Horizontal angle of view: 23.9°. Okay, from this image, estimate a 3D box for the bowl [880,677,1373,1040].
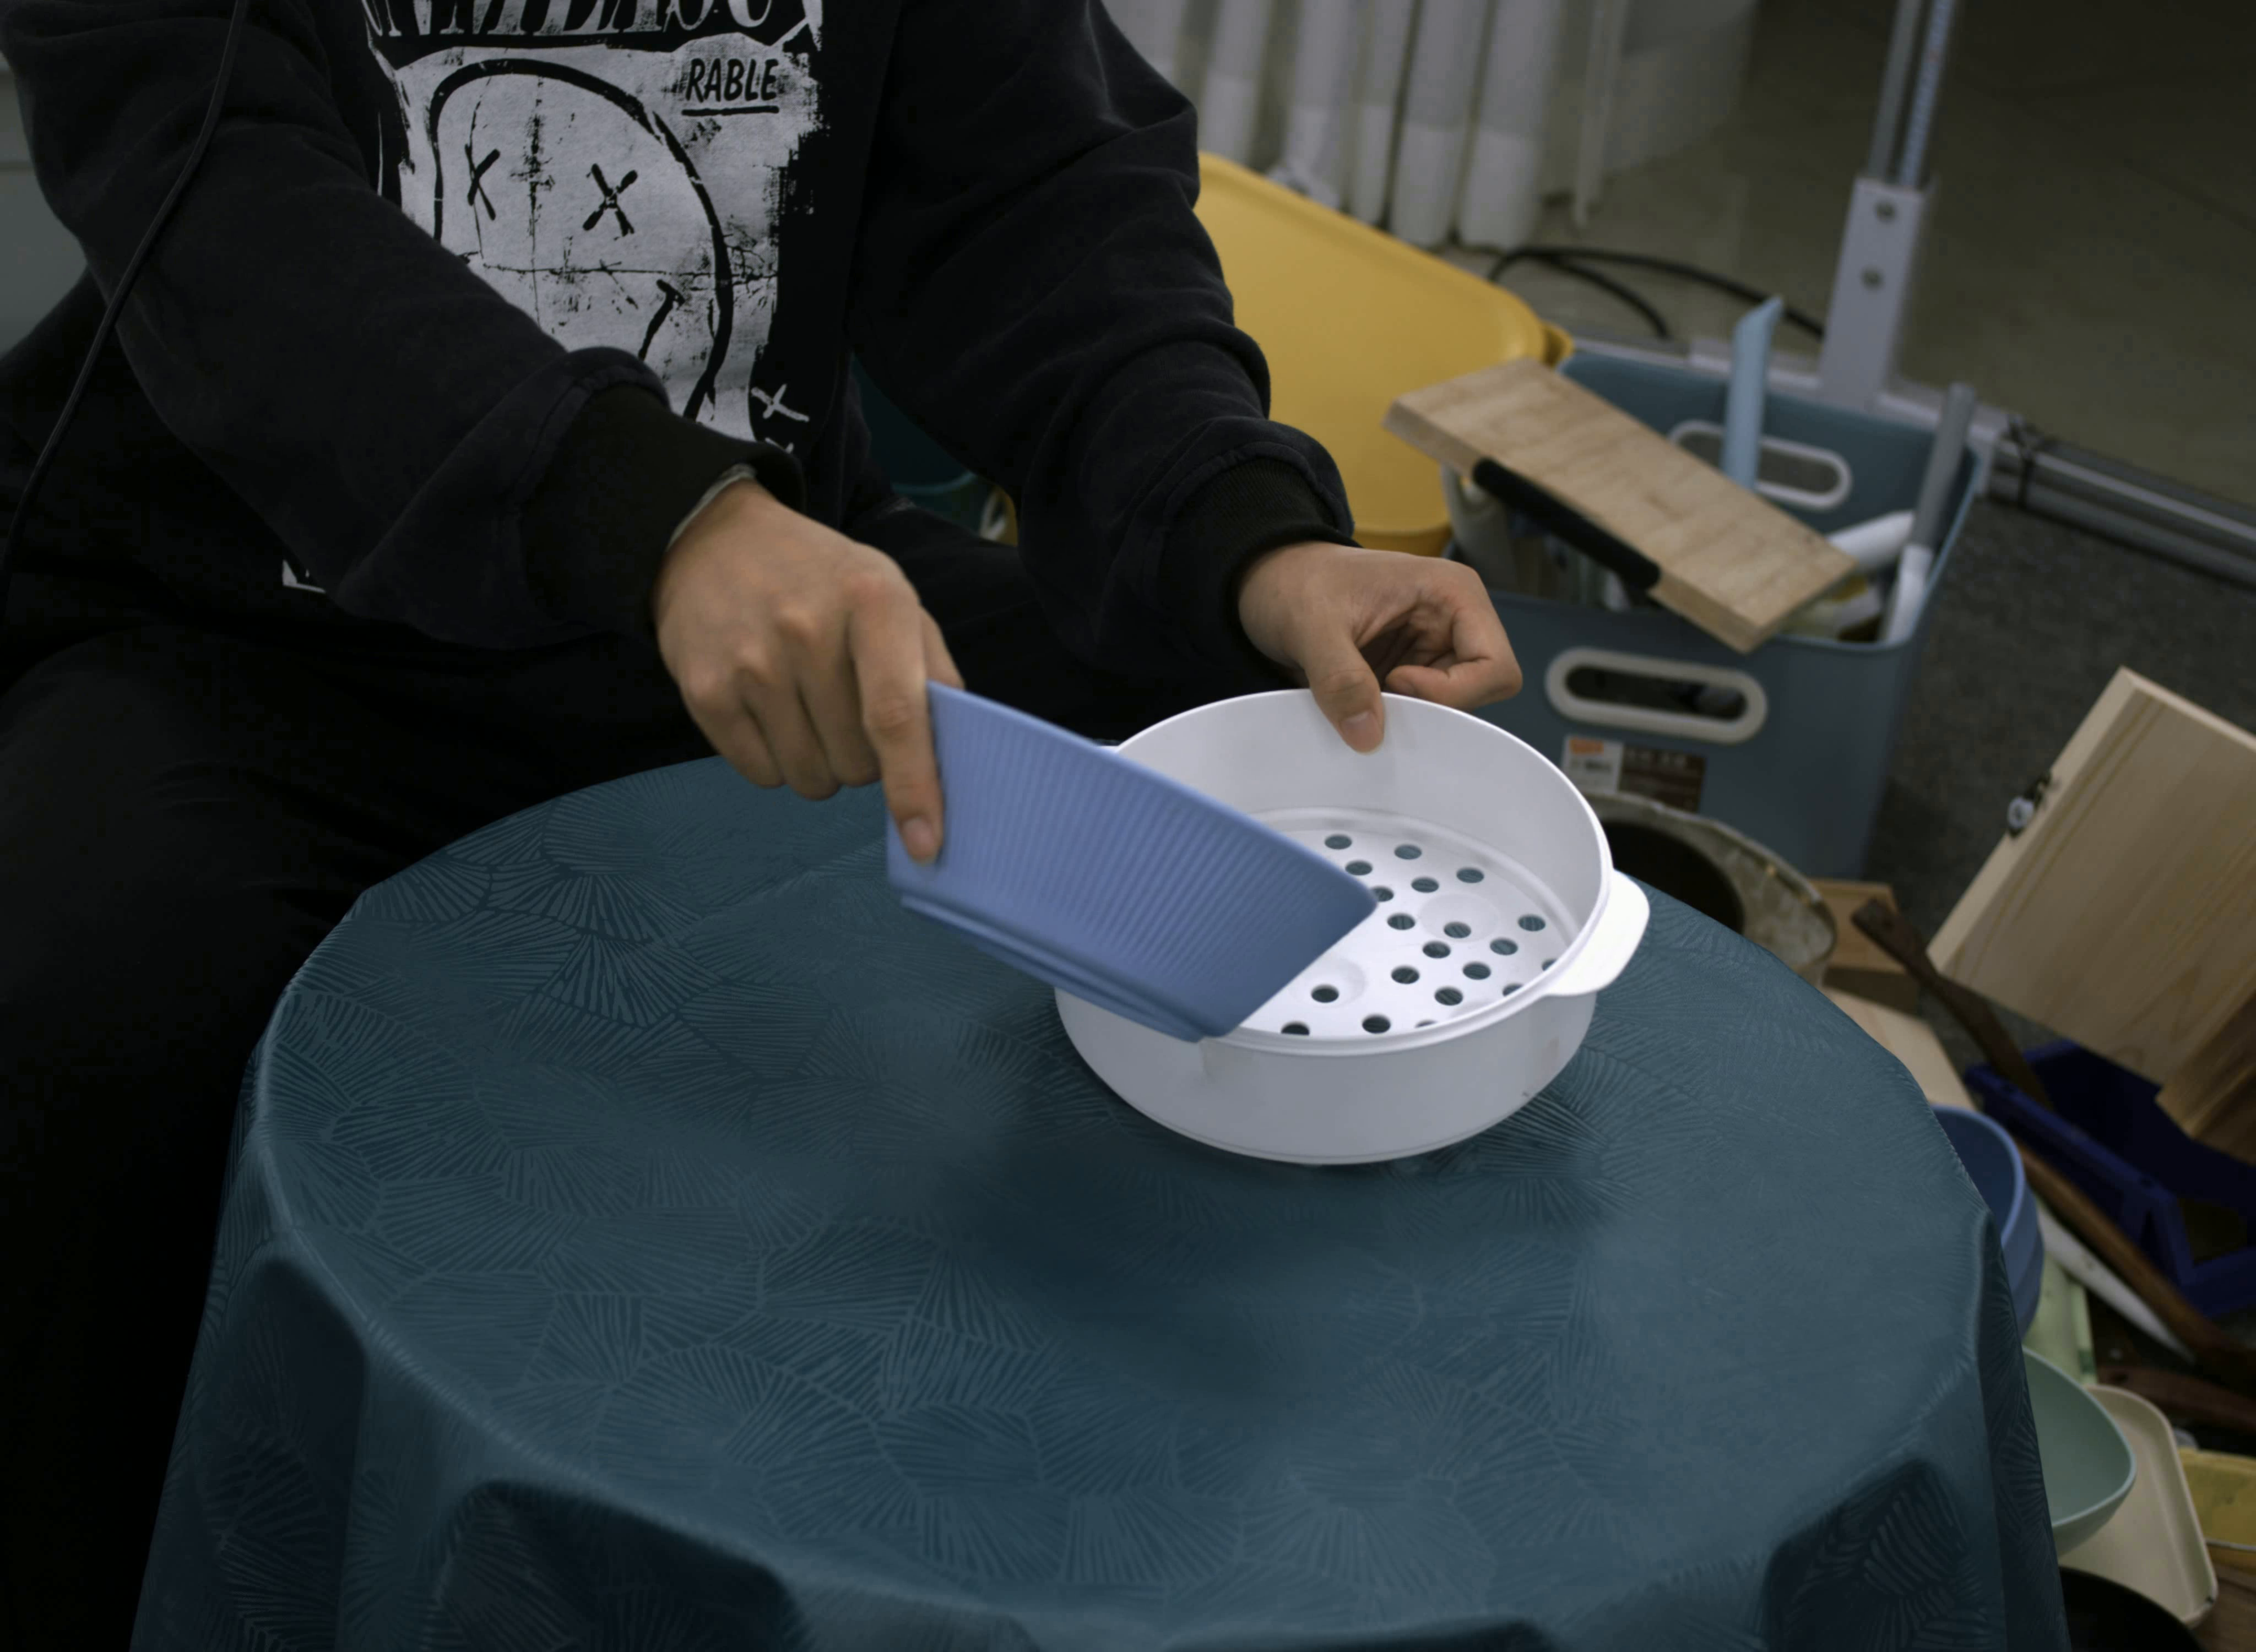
[{"bbox_3d":[-0.013,0.017,1.728,0.176,0.070,0.176,25,-5,2],"label":"bowl"}]

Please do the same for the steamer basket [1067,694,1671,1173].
[{"bbox_3d":[0.075,0.038,1.878,0.231,0.069,0.202,15,40,17],"label":"steamer basket"}]
